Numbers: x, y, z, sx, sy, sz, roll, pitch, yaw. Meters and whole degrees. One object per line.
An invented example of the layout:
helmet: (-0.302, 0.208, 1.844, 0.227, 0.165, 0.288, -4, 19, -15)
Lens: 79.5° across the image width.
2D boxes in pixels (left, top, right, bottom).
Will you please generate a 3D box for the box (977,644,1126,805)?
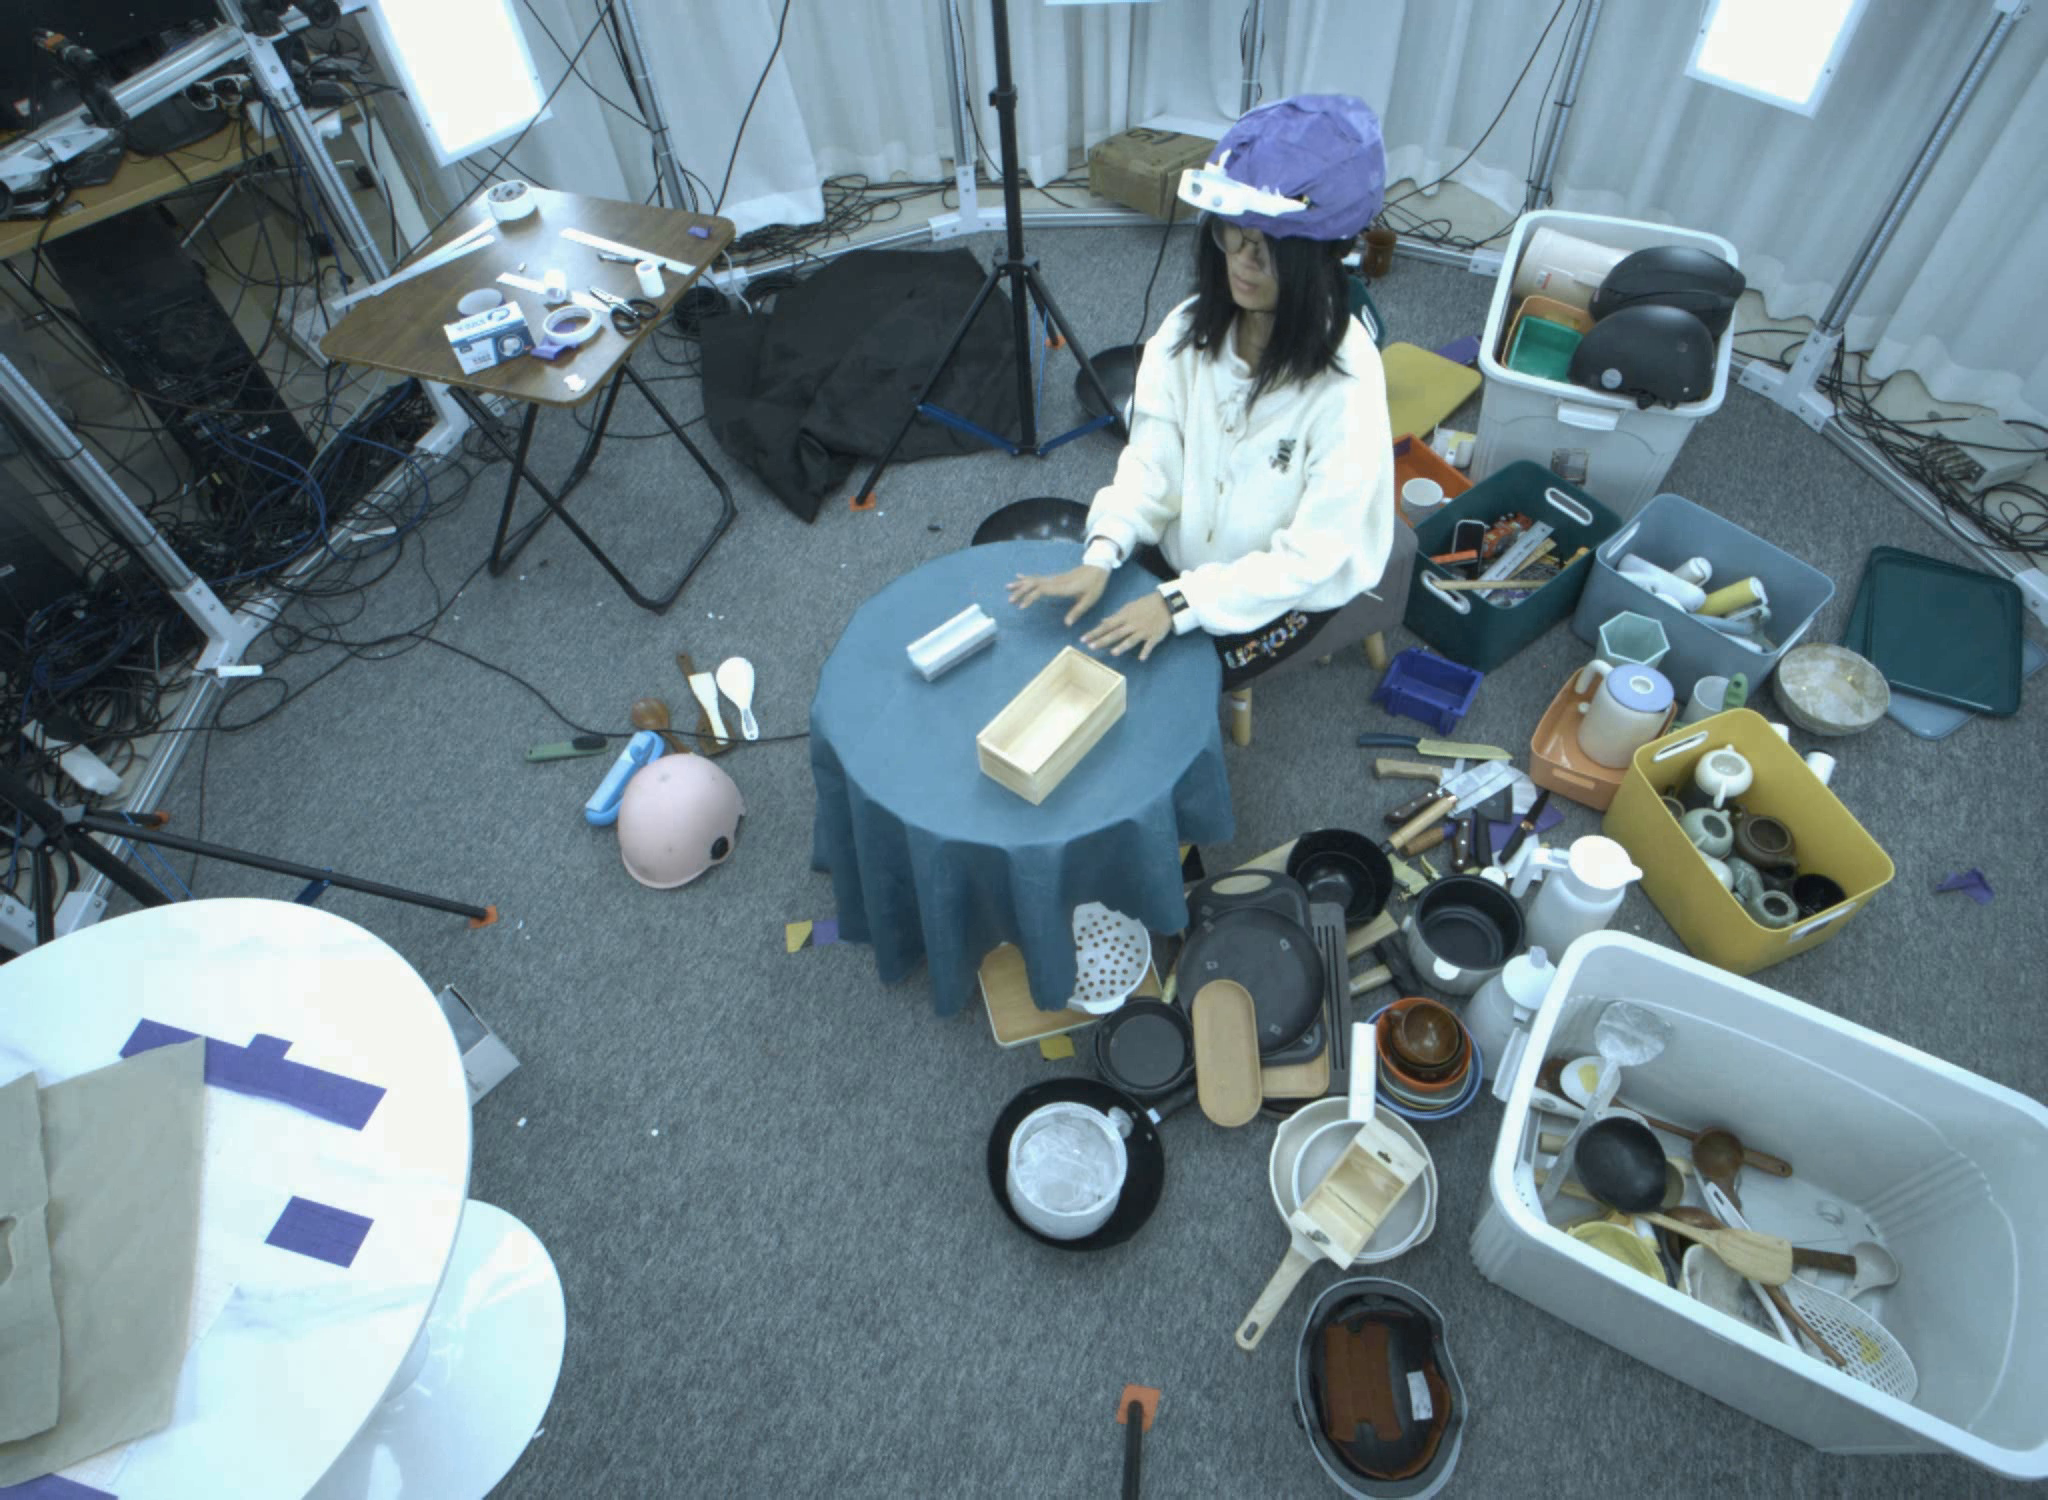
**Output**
box: (0.043, -0.038, 1.765, 0.106, 0.081, 0.212, 31, 62, 22)

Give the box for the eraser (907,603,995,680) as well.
eraser: (-0.111, -0.166, 1.880, 0.135, 0.047, 0.049, -37, 59, -20)
